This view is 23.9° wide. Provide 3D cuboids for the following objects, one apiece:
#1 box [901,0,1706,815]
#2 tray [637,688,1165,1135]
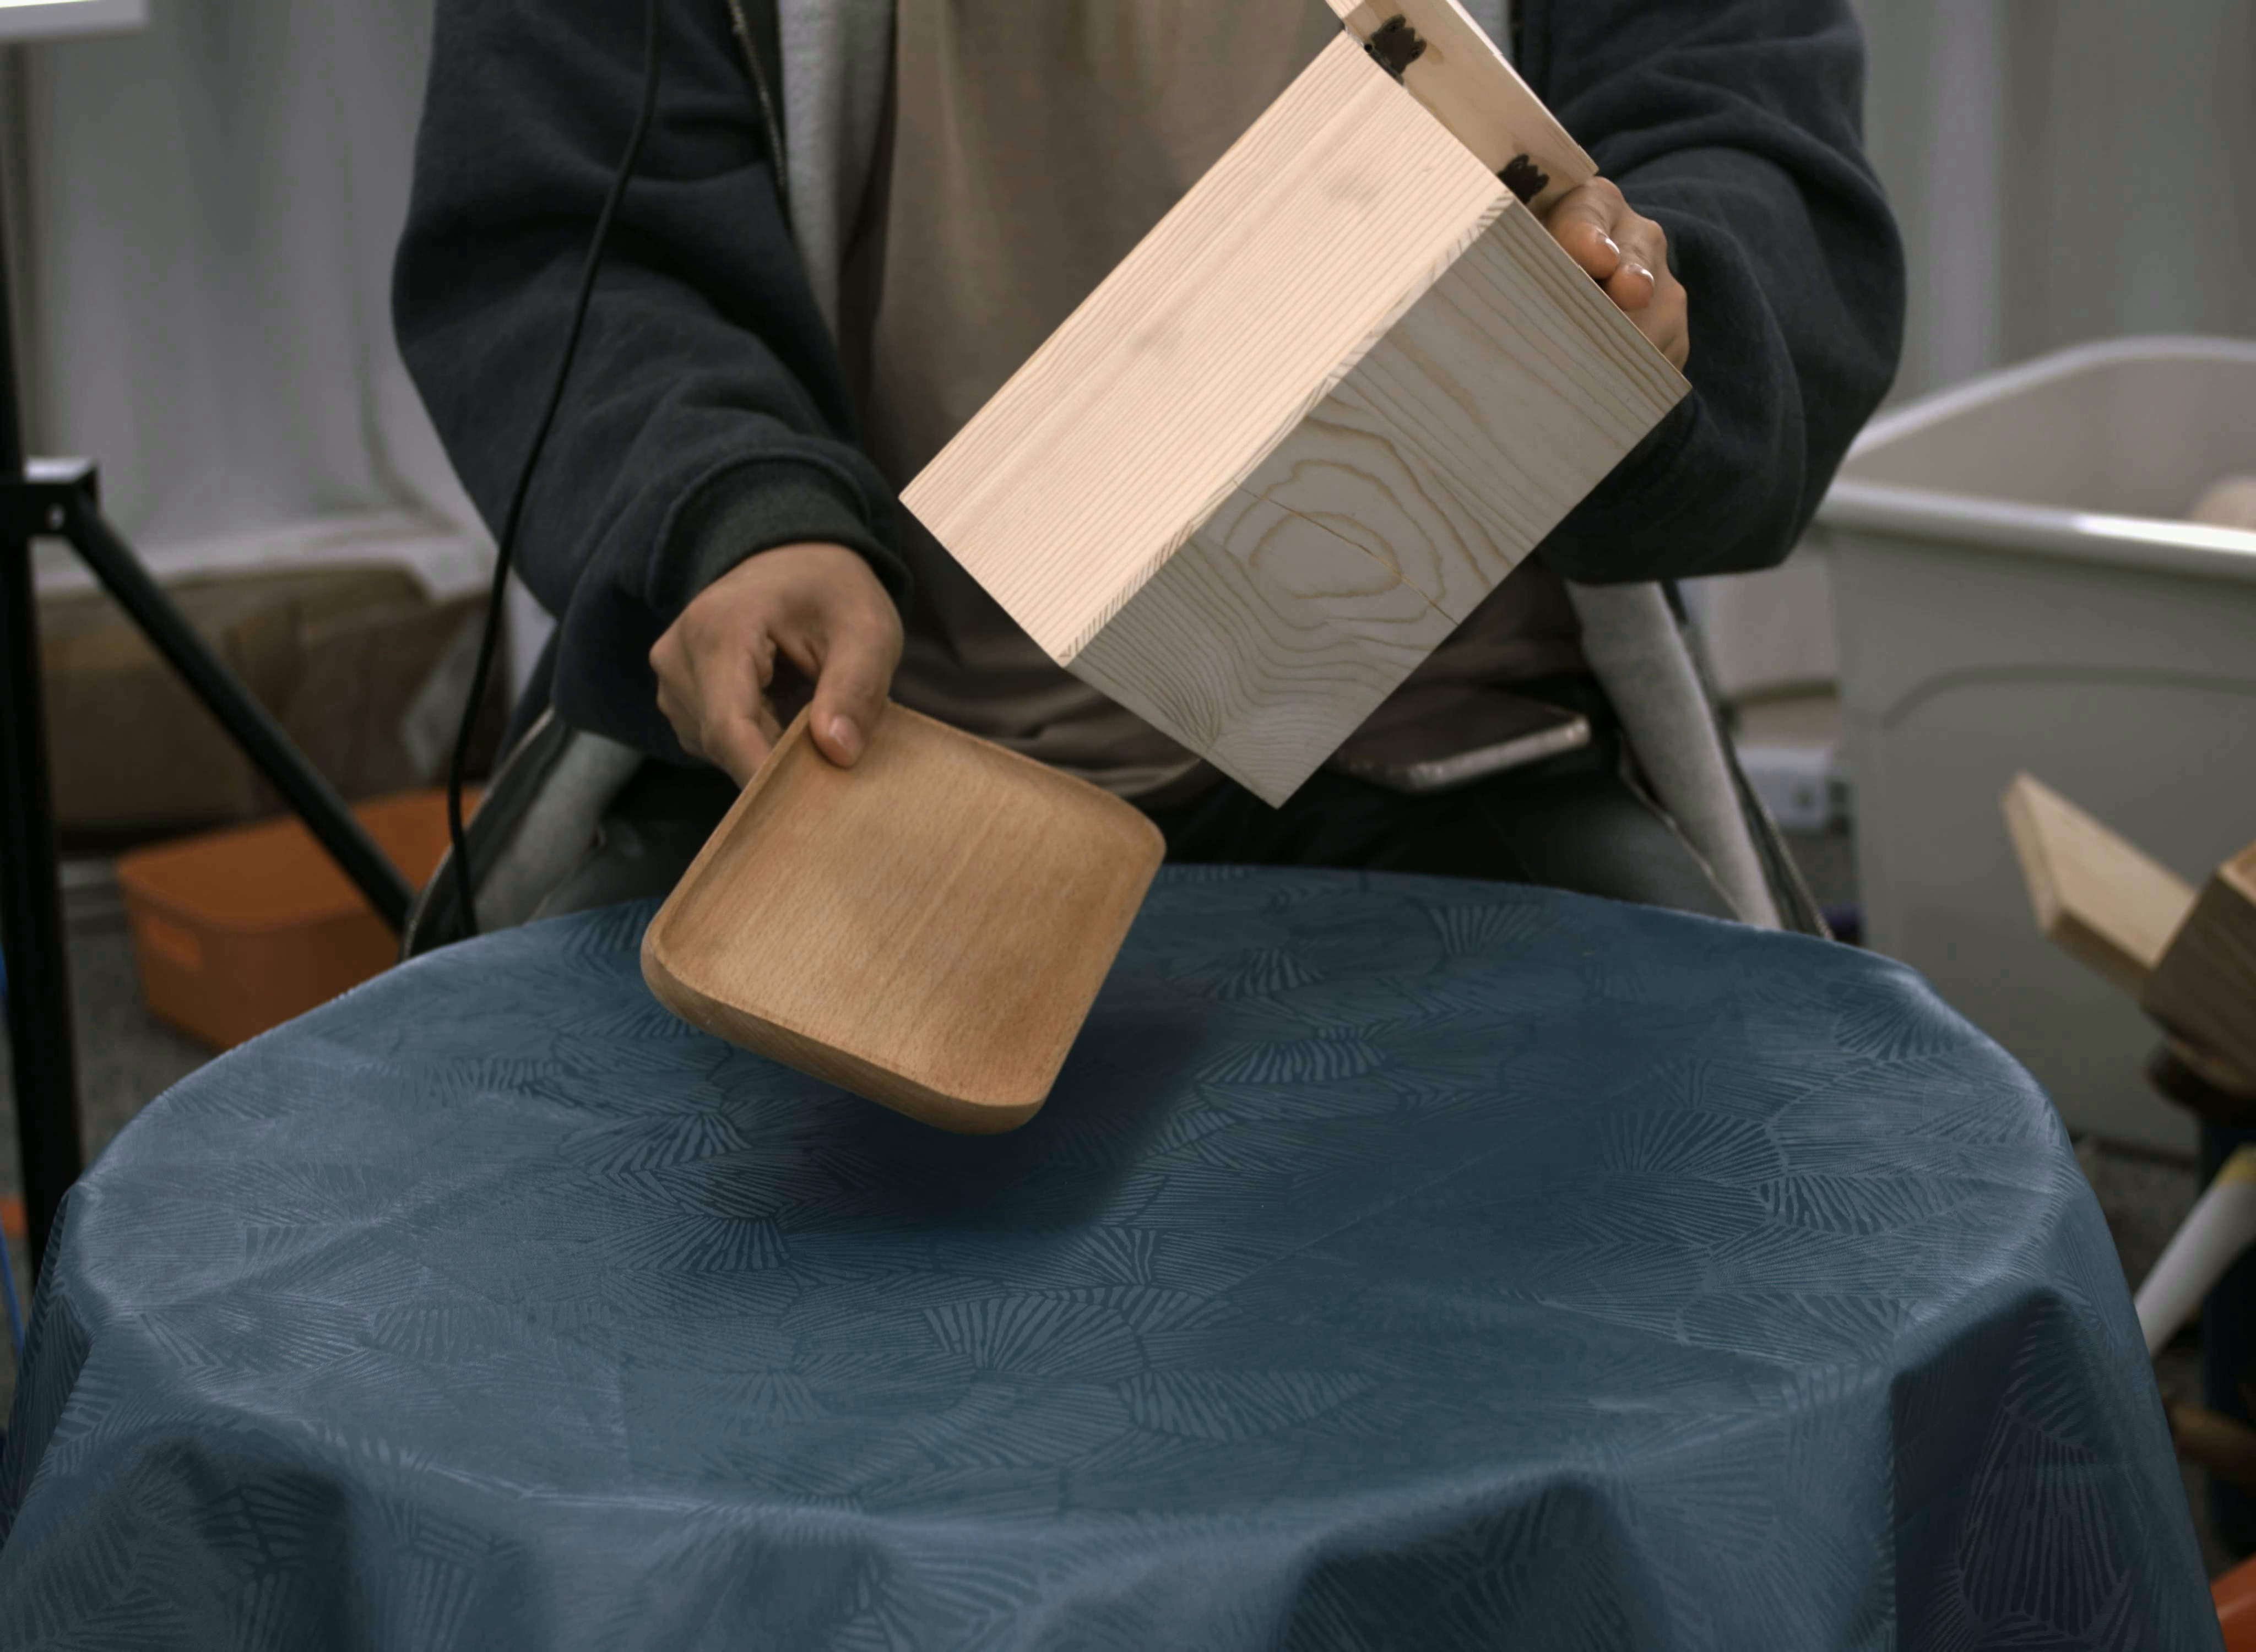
[{"bbox_3d":[0.027,-0.194,1.579,0.258,0.266,0.178,49,7,28],"label":"box"},{"bbox_3d":[-0.066,0.023,1.636,0.130,0.023,0.250,25,23,2],"label":"tray"}]
